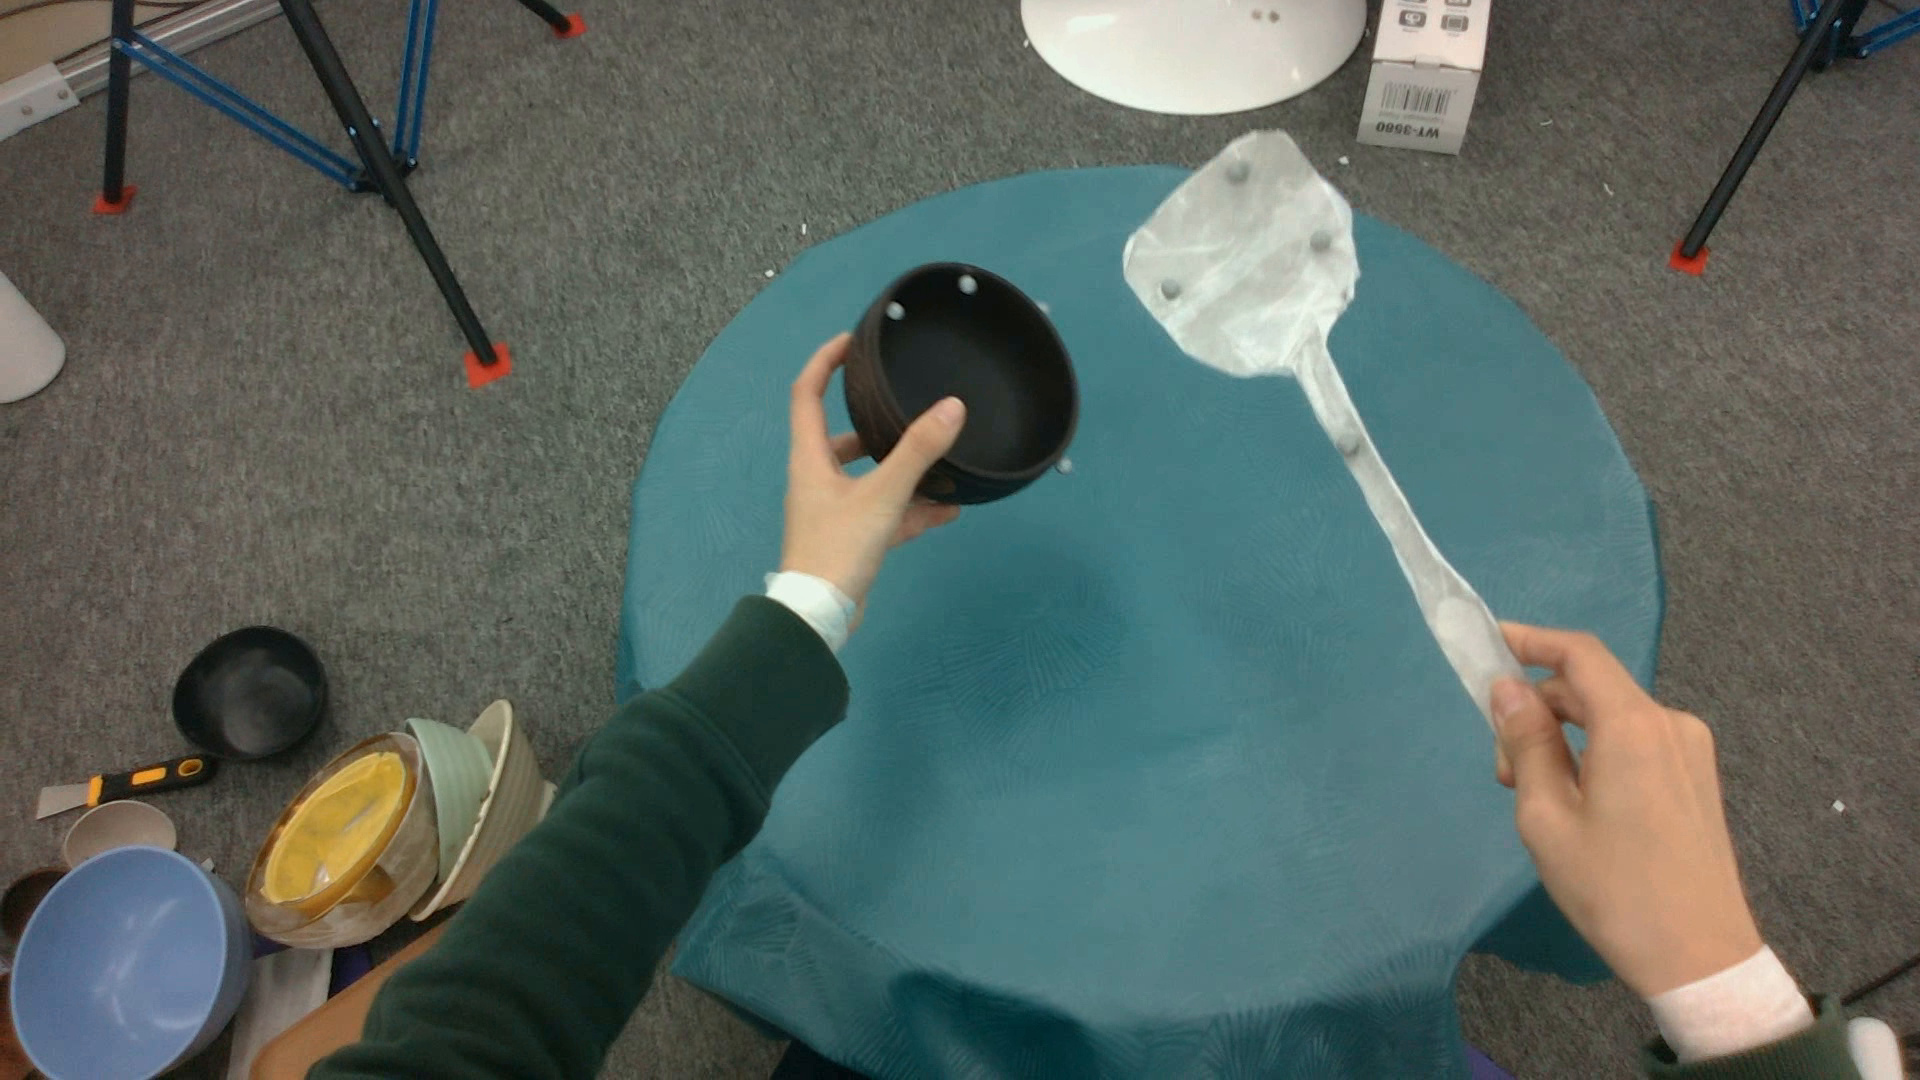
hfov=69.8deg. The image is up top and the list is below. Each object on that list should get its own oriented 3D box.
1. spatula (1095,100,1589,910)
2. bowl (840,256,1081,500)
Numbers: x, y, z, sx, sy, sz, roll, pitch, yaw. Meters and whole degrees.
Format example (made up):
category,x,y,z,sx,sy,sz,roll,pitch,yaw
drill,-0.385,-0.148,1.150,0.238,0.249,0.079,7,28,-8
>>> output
category,x,y,z,sx,sy,sz,roll,pitch,yaw
spatula,0.154,-0.029,0.552,0.098,0.045,0.366,-37,54,26
bowl,-0.006,-0.074,0.685,0.118,0.069,0.118,11,67,-26
